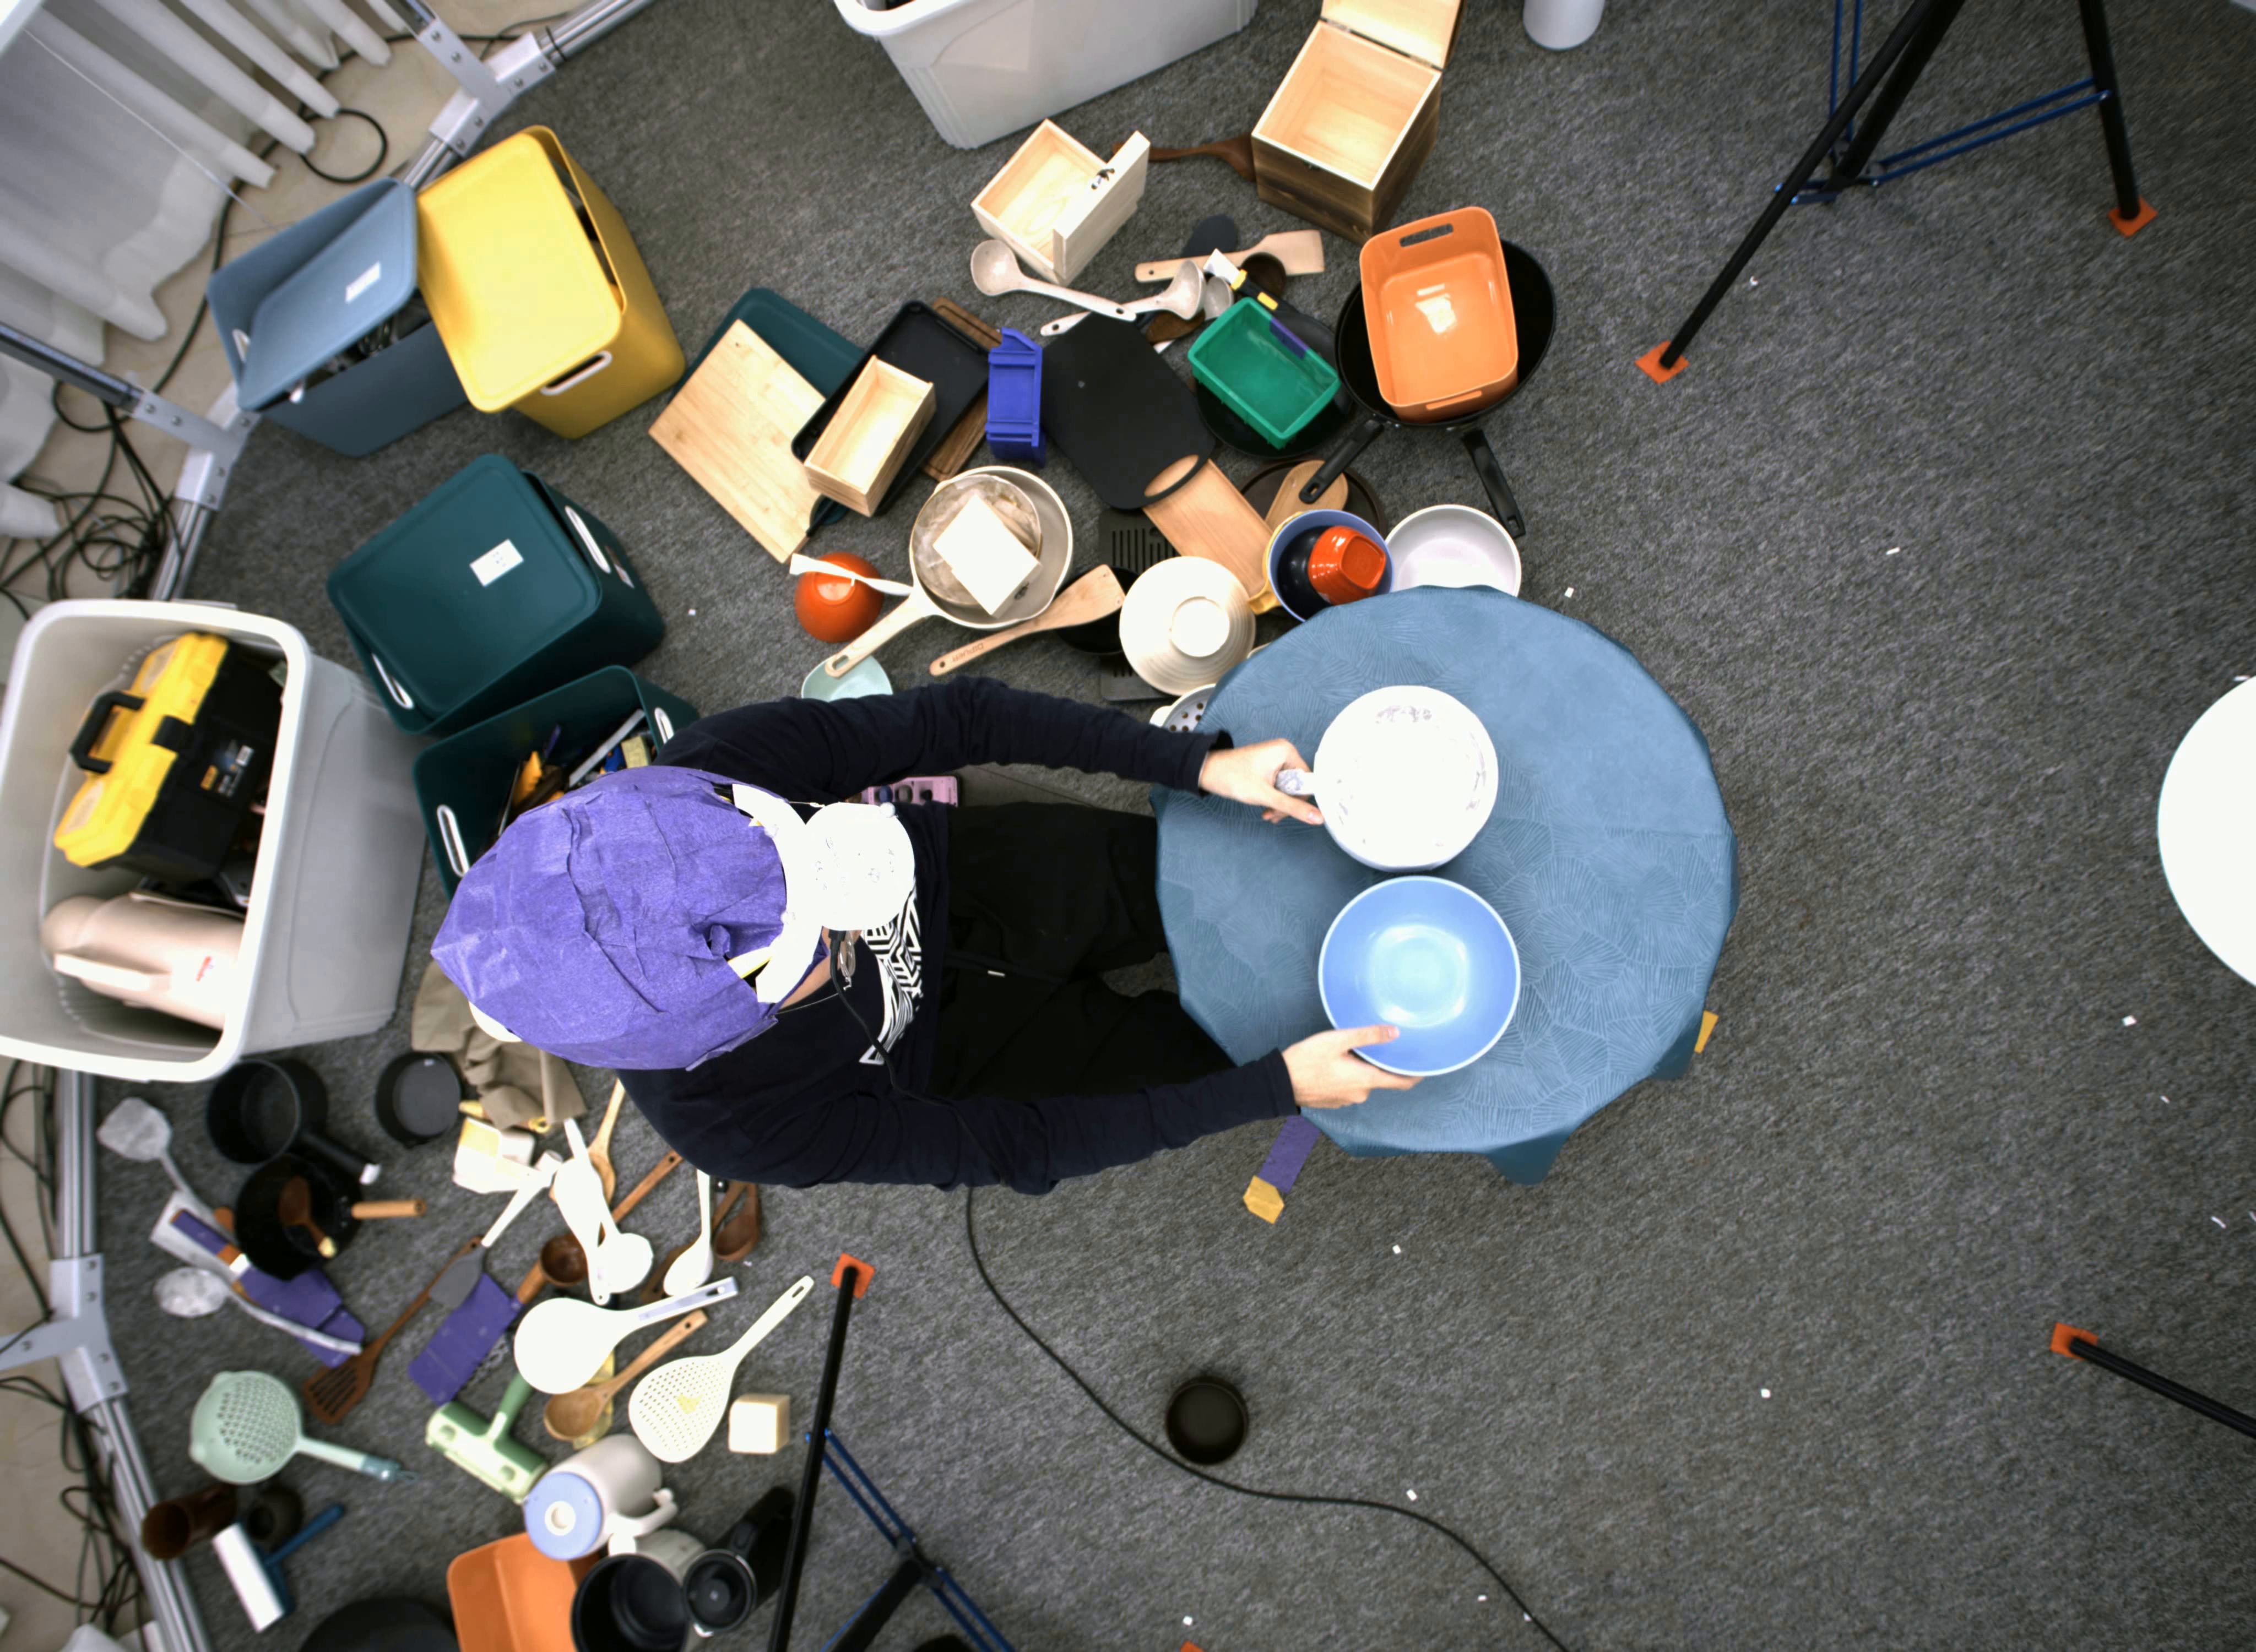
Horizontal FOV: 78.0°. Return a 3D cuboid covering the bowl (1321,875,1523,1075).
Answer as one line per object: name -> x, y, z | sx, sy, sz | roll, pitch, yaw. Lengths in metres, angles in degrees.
bowl -> 0.293, 0.149, 1.399 | 0.197, 0.095, 0.196 | 0, 87, 6

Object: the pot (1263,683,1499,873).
pot -> 0.252, -0.043, 1.401 | 0.235, 0.137, 0.177 | -4, 83, 10
